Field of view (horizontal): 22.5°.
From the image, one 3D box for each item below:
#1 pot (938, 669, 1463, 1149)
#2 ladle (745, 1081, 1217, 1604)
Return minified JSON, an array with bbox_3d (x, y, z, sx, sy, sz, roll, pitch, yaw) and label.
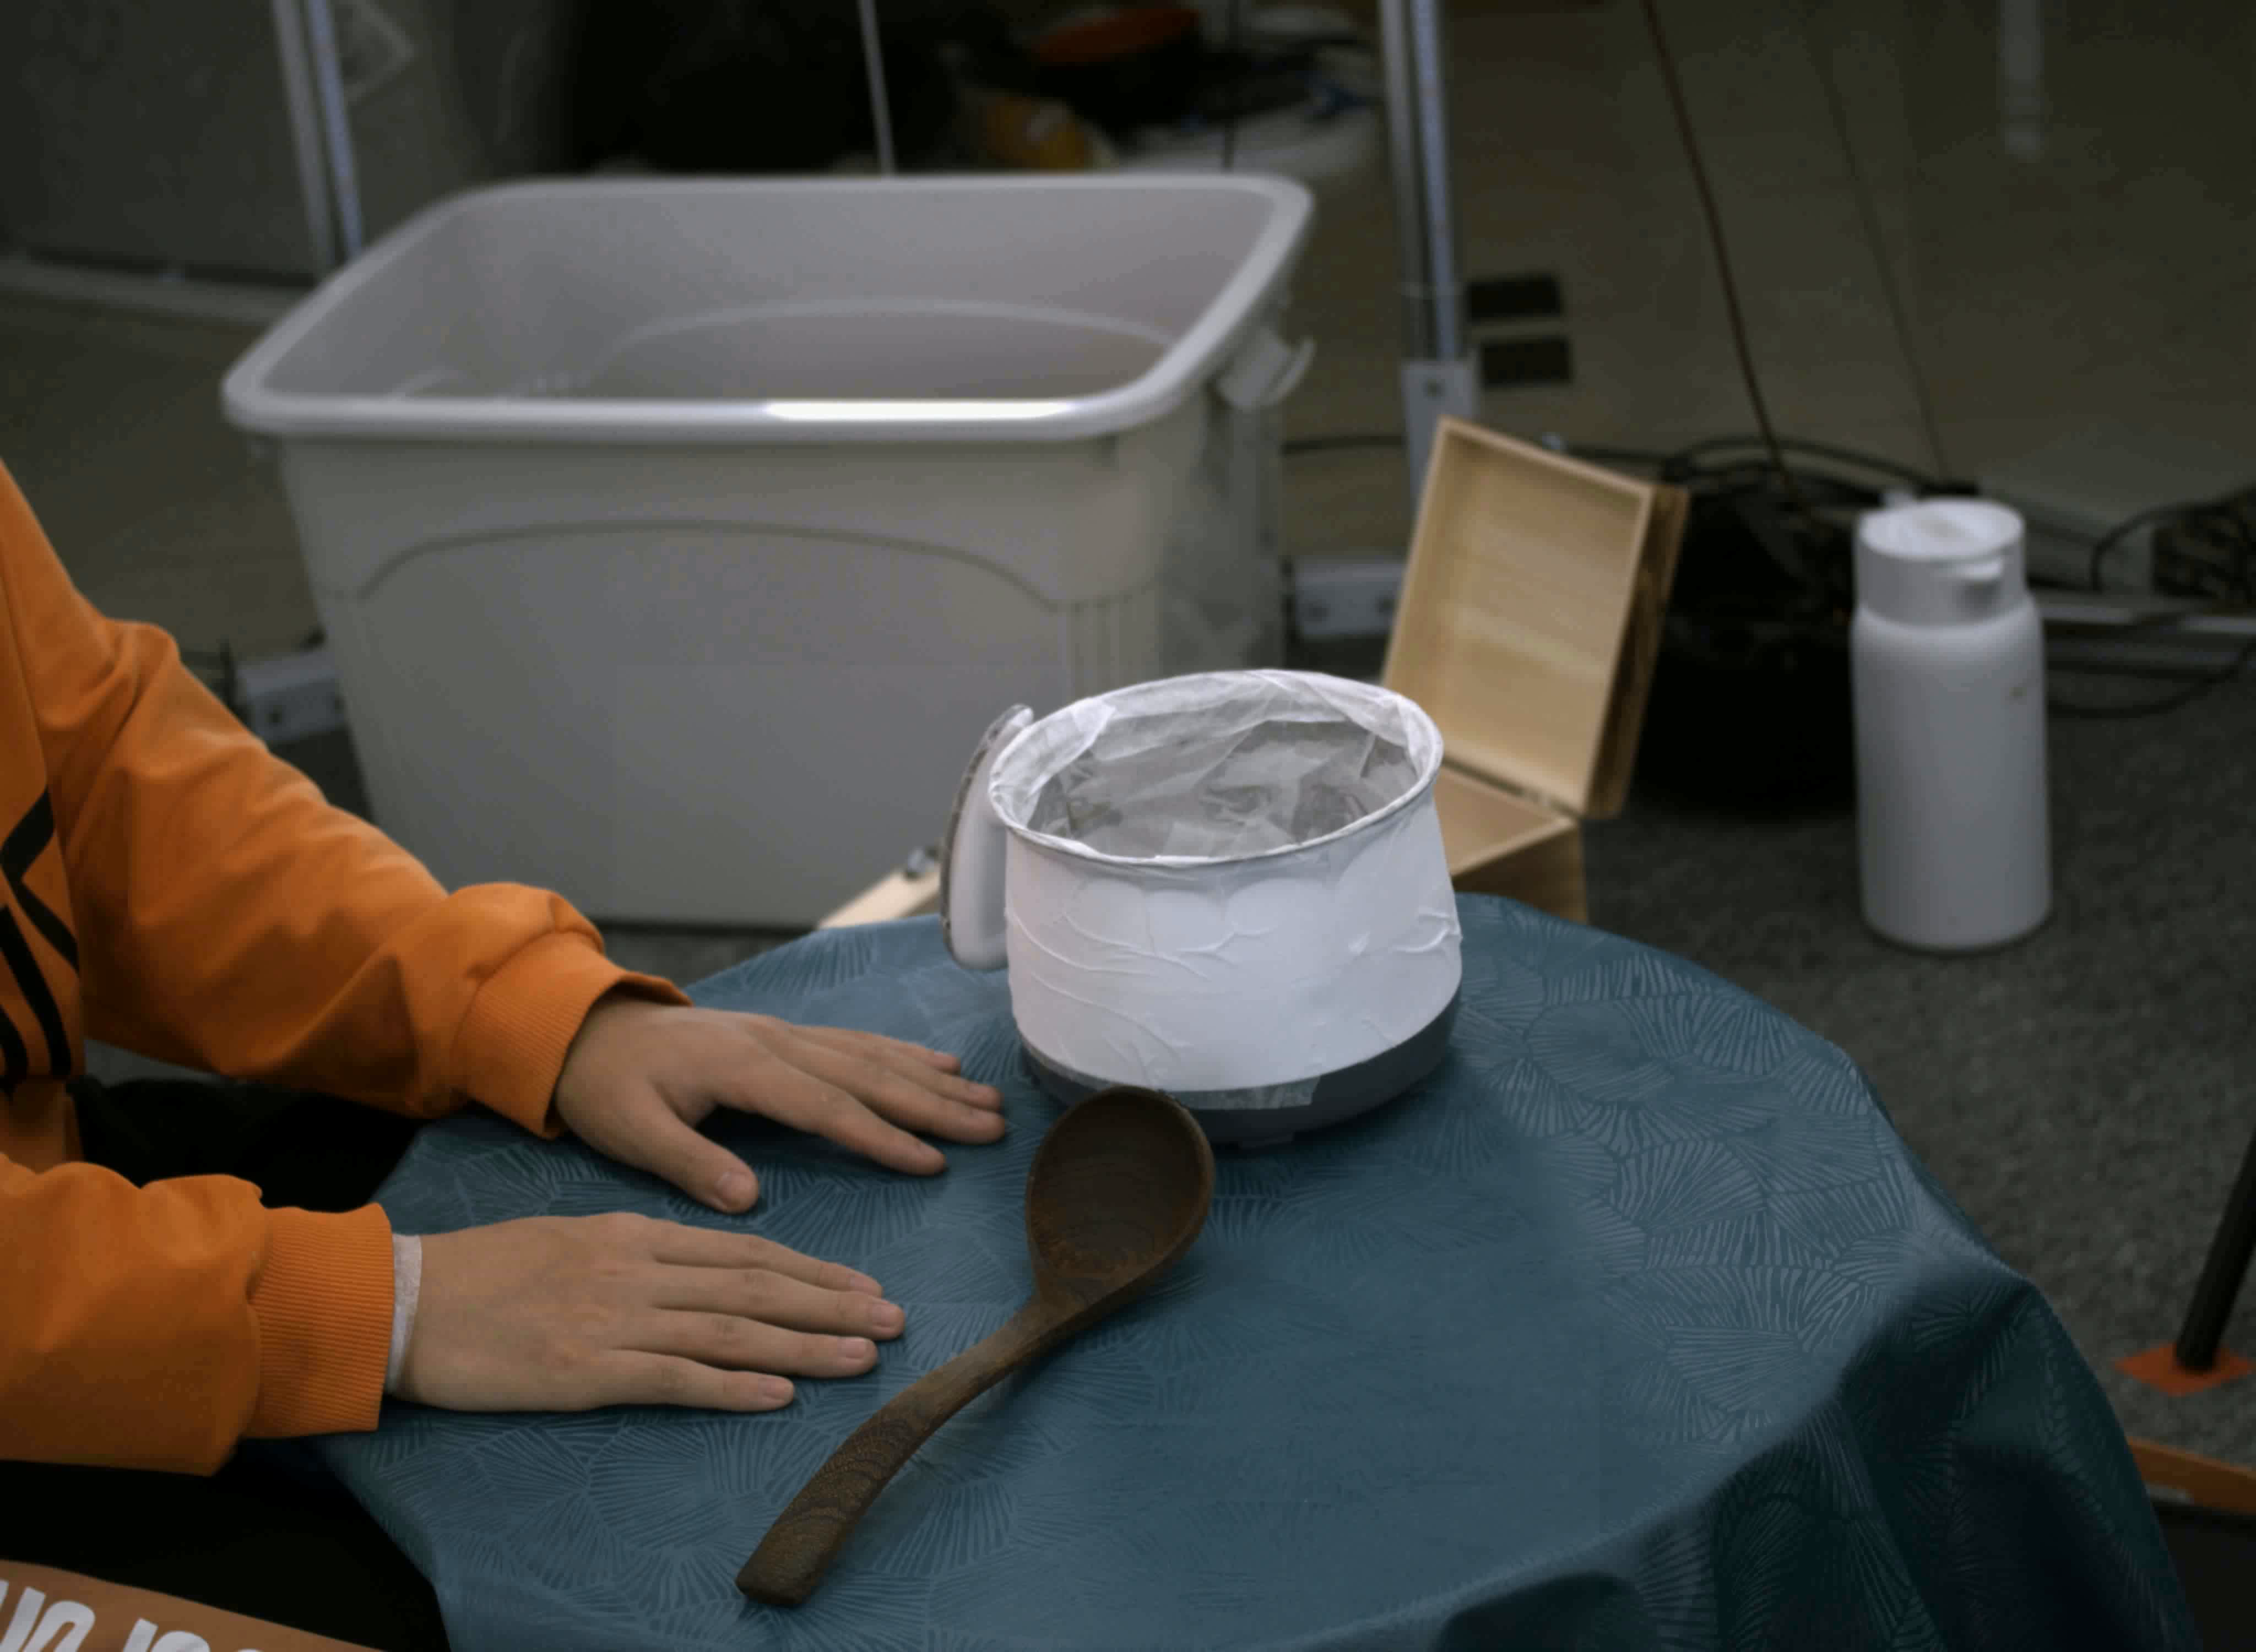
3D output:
[{"bbox_3d":[0.018,0.028,2.216,0.232,0.139,0.177,13,31,35],"label":"pot"},{"bbox_3d":[-0.056,0.176,1.998,0.076,0.072,0.271,6,27,32],"label":"ladle"}]
